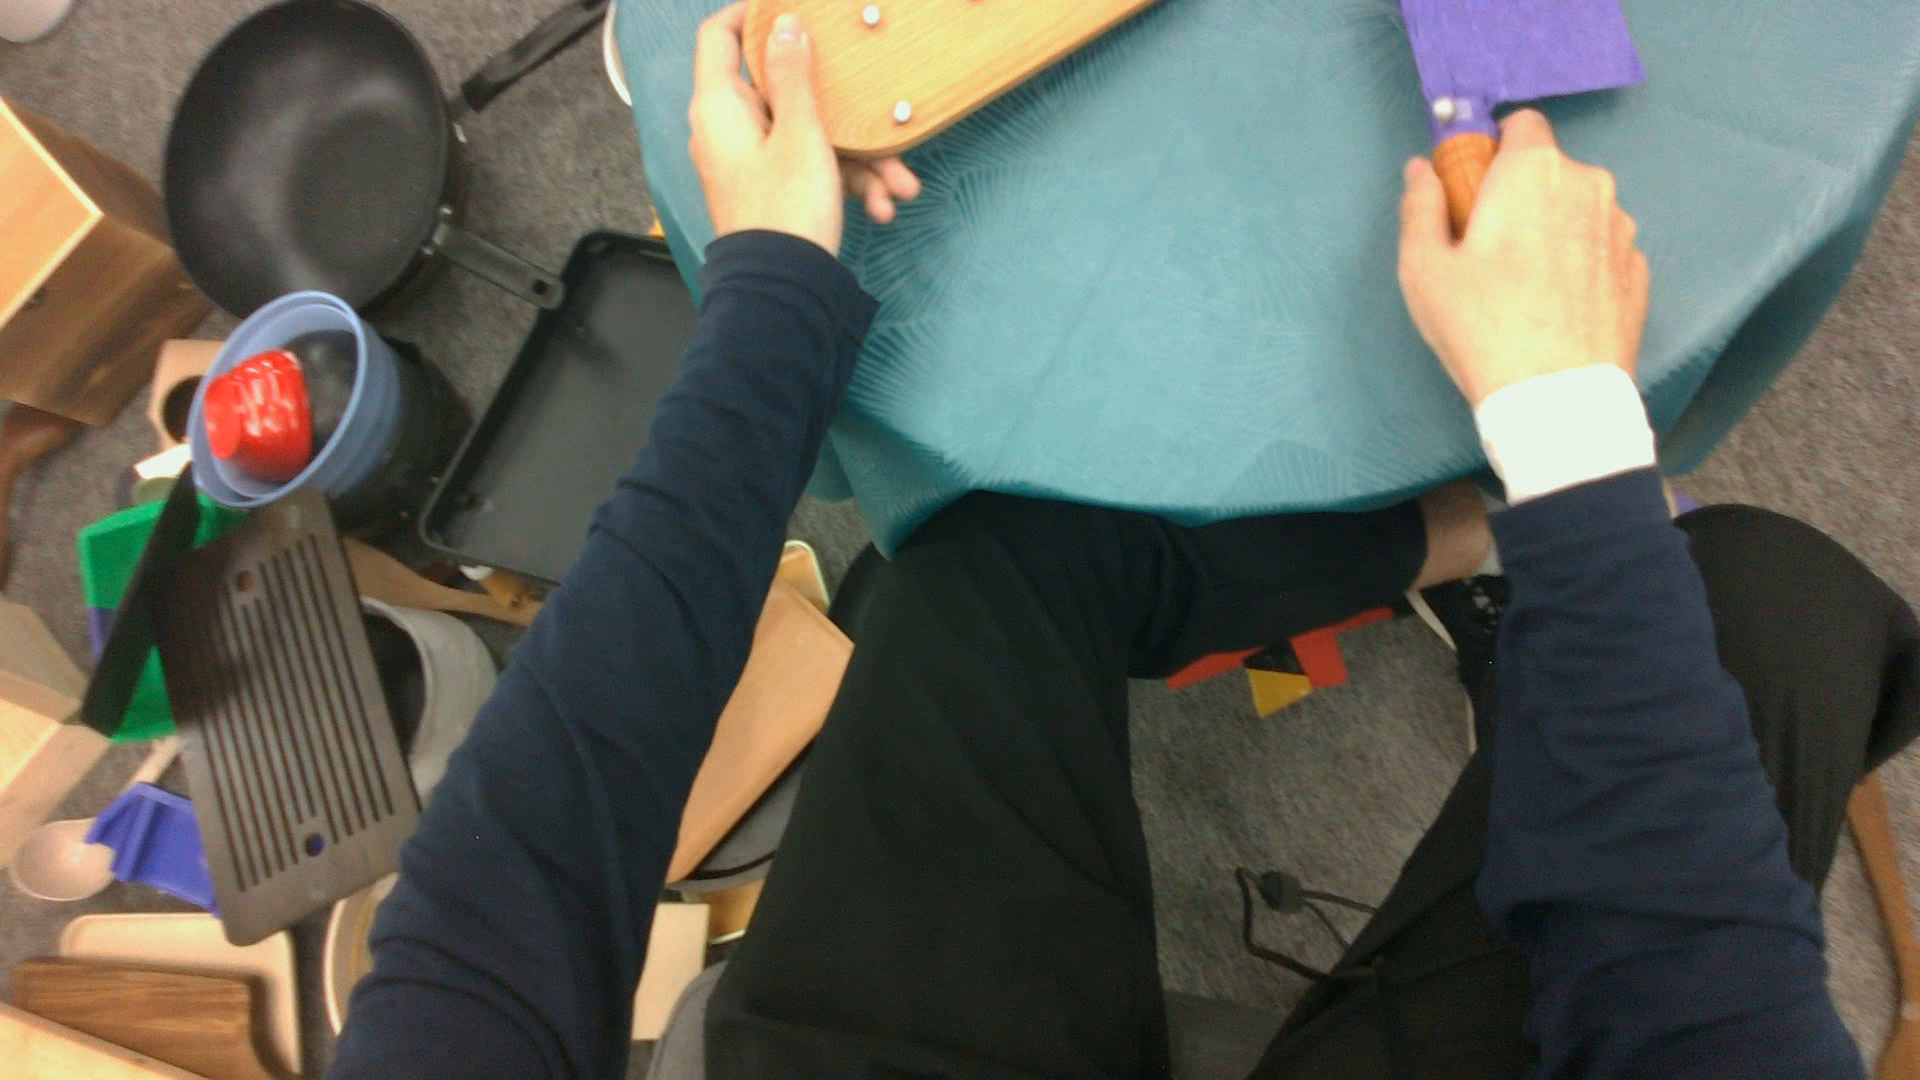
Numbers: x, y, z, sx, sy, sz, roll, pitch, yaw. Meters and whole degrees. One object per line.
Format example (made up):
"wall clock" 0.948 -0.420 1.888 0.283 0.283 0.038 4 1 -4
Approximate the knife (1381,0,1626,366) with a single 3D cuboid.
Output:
"knife" 0.214 -0.225 0.563 0.104 0.032 0.316 -11 74 2

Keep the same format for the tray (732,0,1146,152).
"tray" 0.007 -0.251 0.606 0.231 0.020 0.102 -32 84 -9
